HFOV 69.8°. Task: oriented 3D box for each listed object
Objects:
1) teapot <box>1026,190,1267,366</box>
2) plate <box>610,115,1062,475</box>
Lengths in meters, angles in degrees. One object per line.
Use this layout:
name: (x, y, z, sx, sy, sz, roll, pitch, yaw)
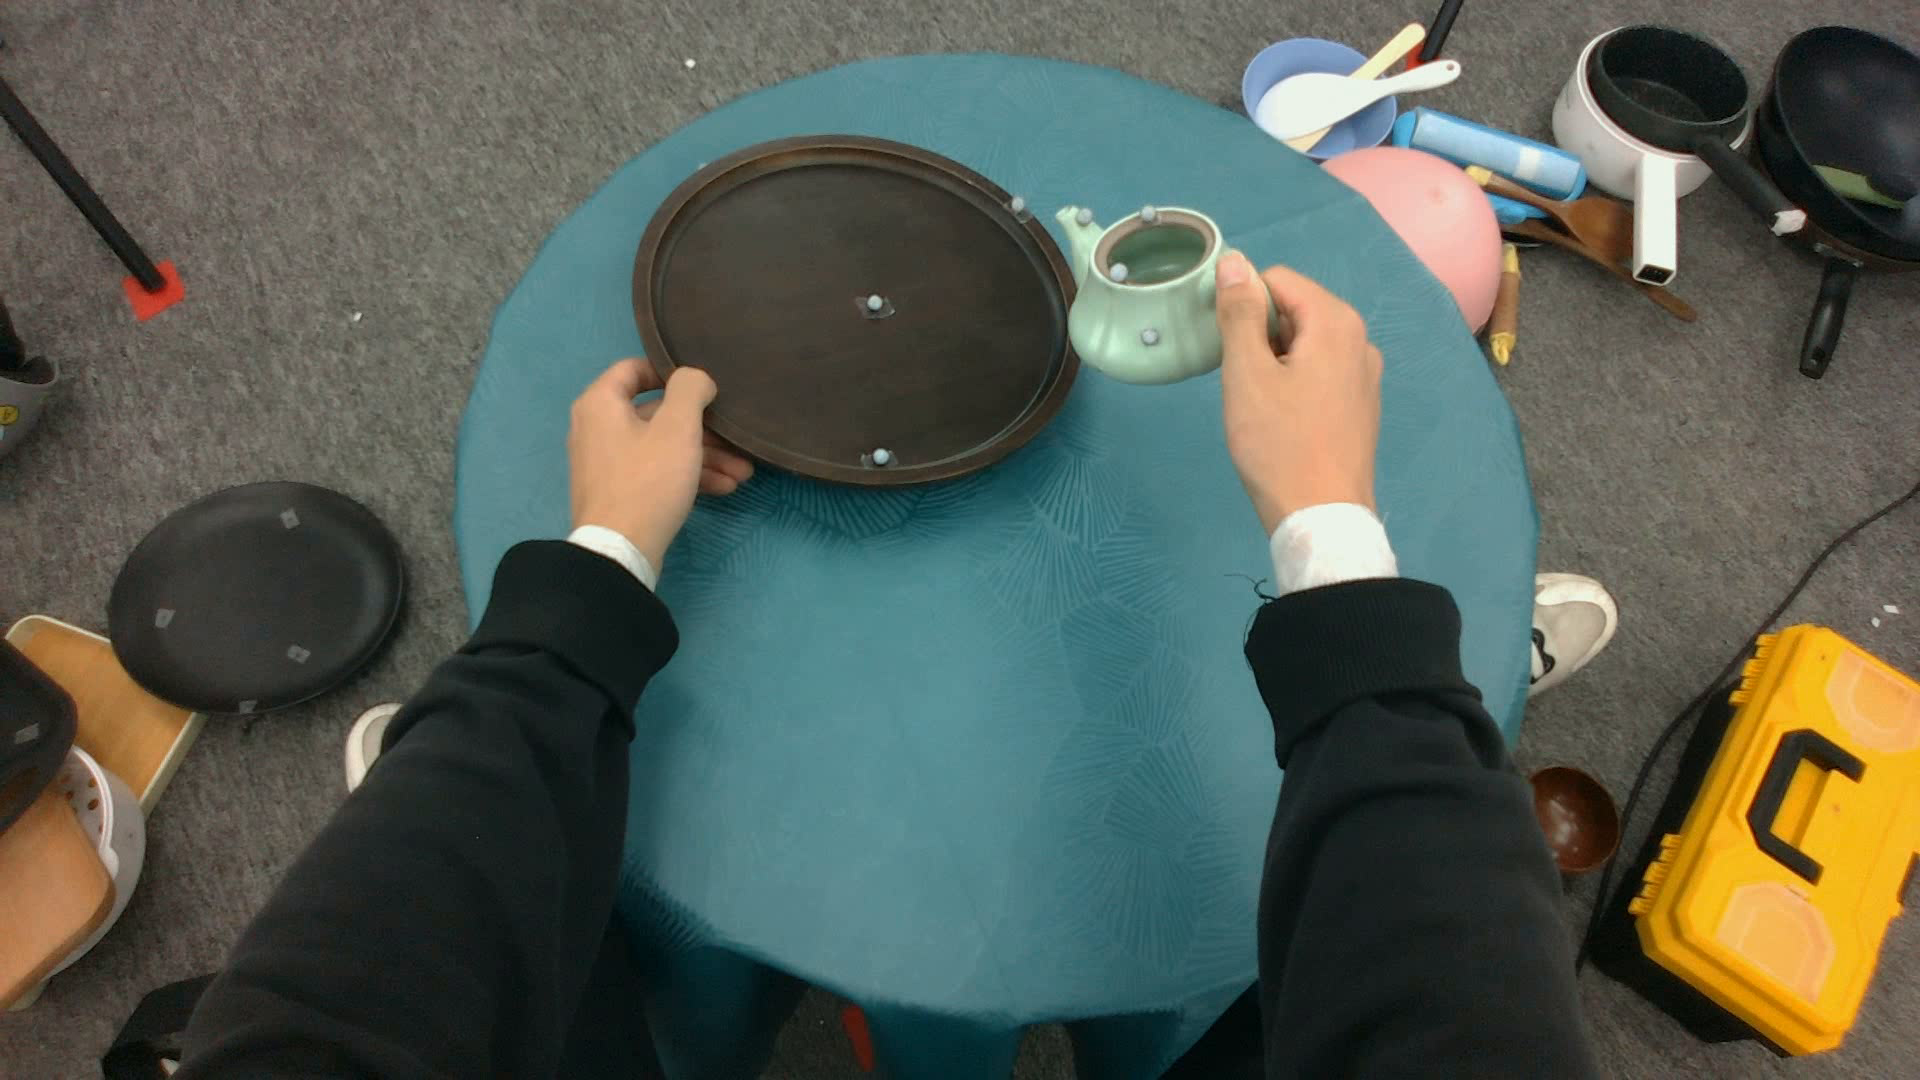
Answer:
teapot: (0.091, -0.128, 0.667, 0.137, 0.061, 0.096, 28, 61, 38)
plate: (-0.066, -0.142, 0.771, 0.255, 0.029, 0.256, 6, 57, -10)
